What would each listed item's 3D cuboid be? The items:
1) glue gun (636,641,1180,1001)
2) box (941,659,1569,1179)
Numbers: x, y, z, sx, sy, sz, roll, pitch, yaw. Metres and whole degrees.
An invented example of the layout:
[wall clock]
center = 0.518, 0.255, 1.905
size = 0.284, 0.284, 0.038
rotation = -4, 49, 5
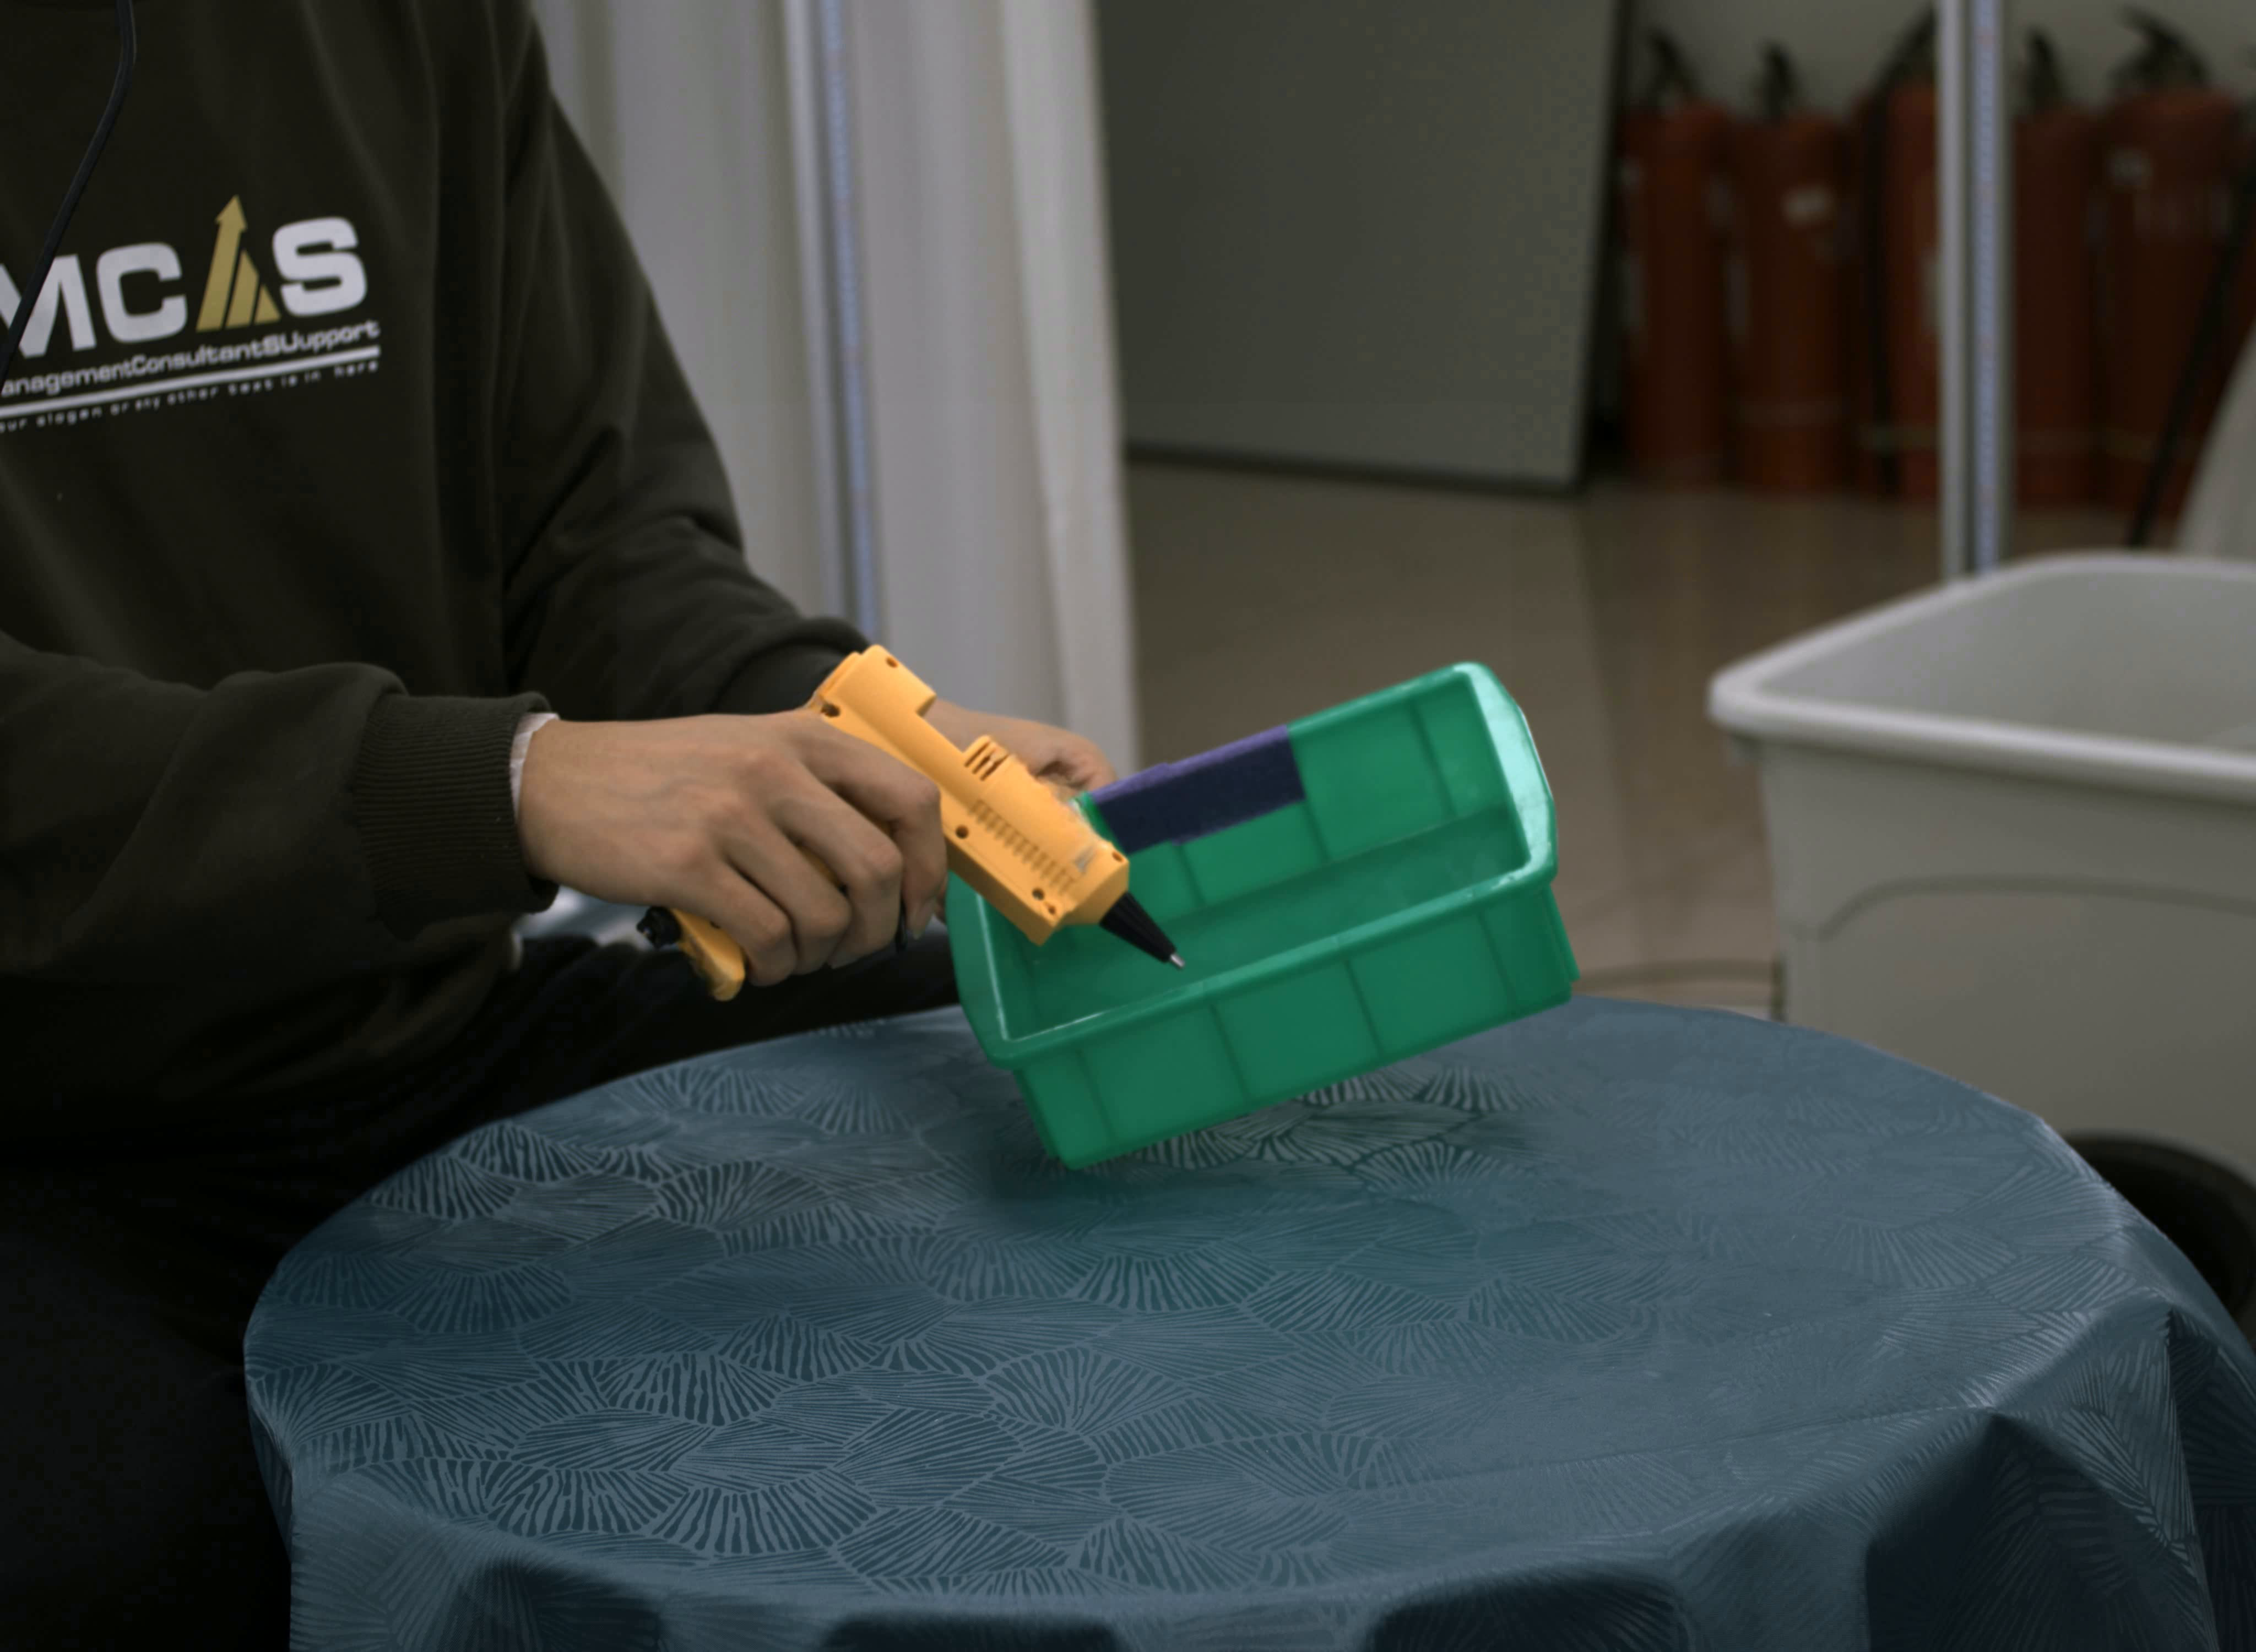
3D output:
[glue gun]
center = -0.064, 0.029, 1.755
size = 0.132, 0.151, 0.031
rotation = -53, -4, -26
[box]
center = 0.046, 0.034, 1.828
size = 0.209, 0.065, 0.140
rotation = -22, 31, 5
